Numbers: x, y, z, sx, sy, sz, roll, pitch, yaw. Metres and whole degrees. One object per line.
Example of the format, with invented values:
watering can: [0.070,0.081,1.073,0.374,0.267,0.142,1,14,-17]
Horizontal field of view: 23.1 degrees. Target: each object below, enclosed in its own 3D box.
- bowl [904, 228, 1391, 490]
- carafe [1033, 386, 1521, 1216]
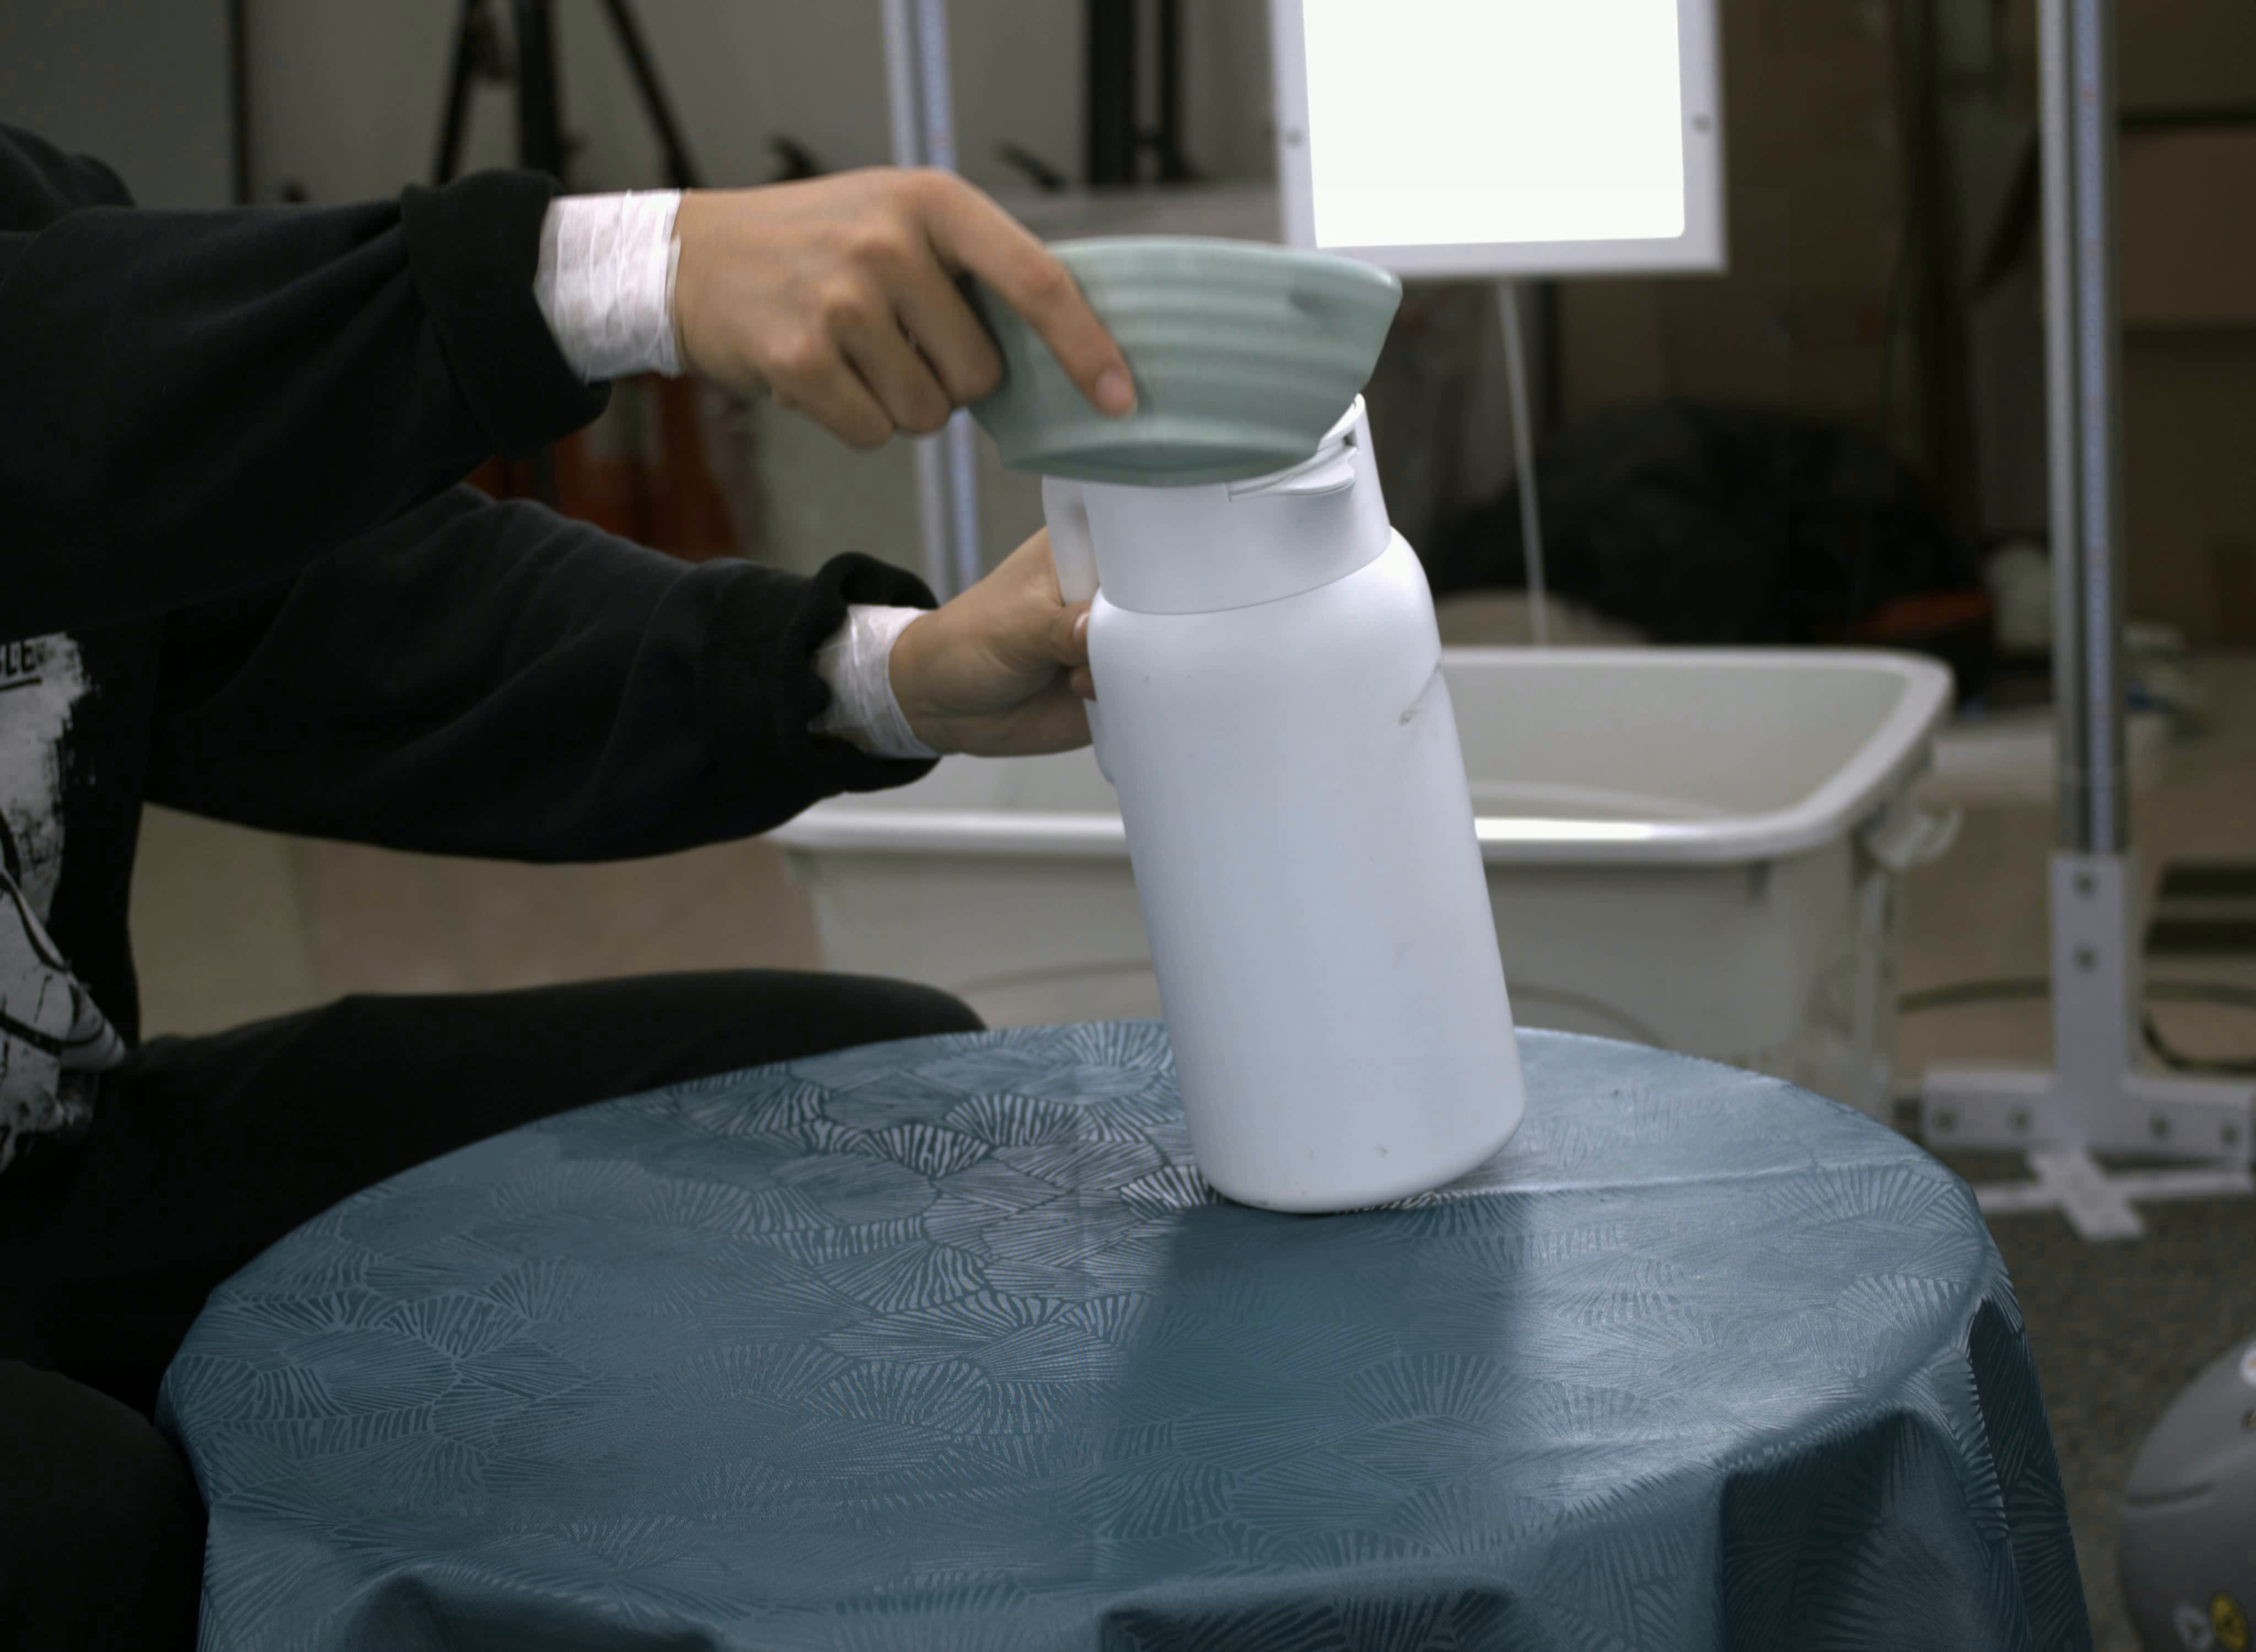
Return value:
bowl: [0.006,-0.140,1.697,0.151,0.059,0.152,0,-6,-1]
carafe: [0.044,-0.013,1.867,0.121,0.269,0.176,-26,24,-27]
